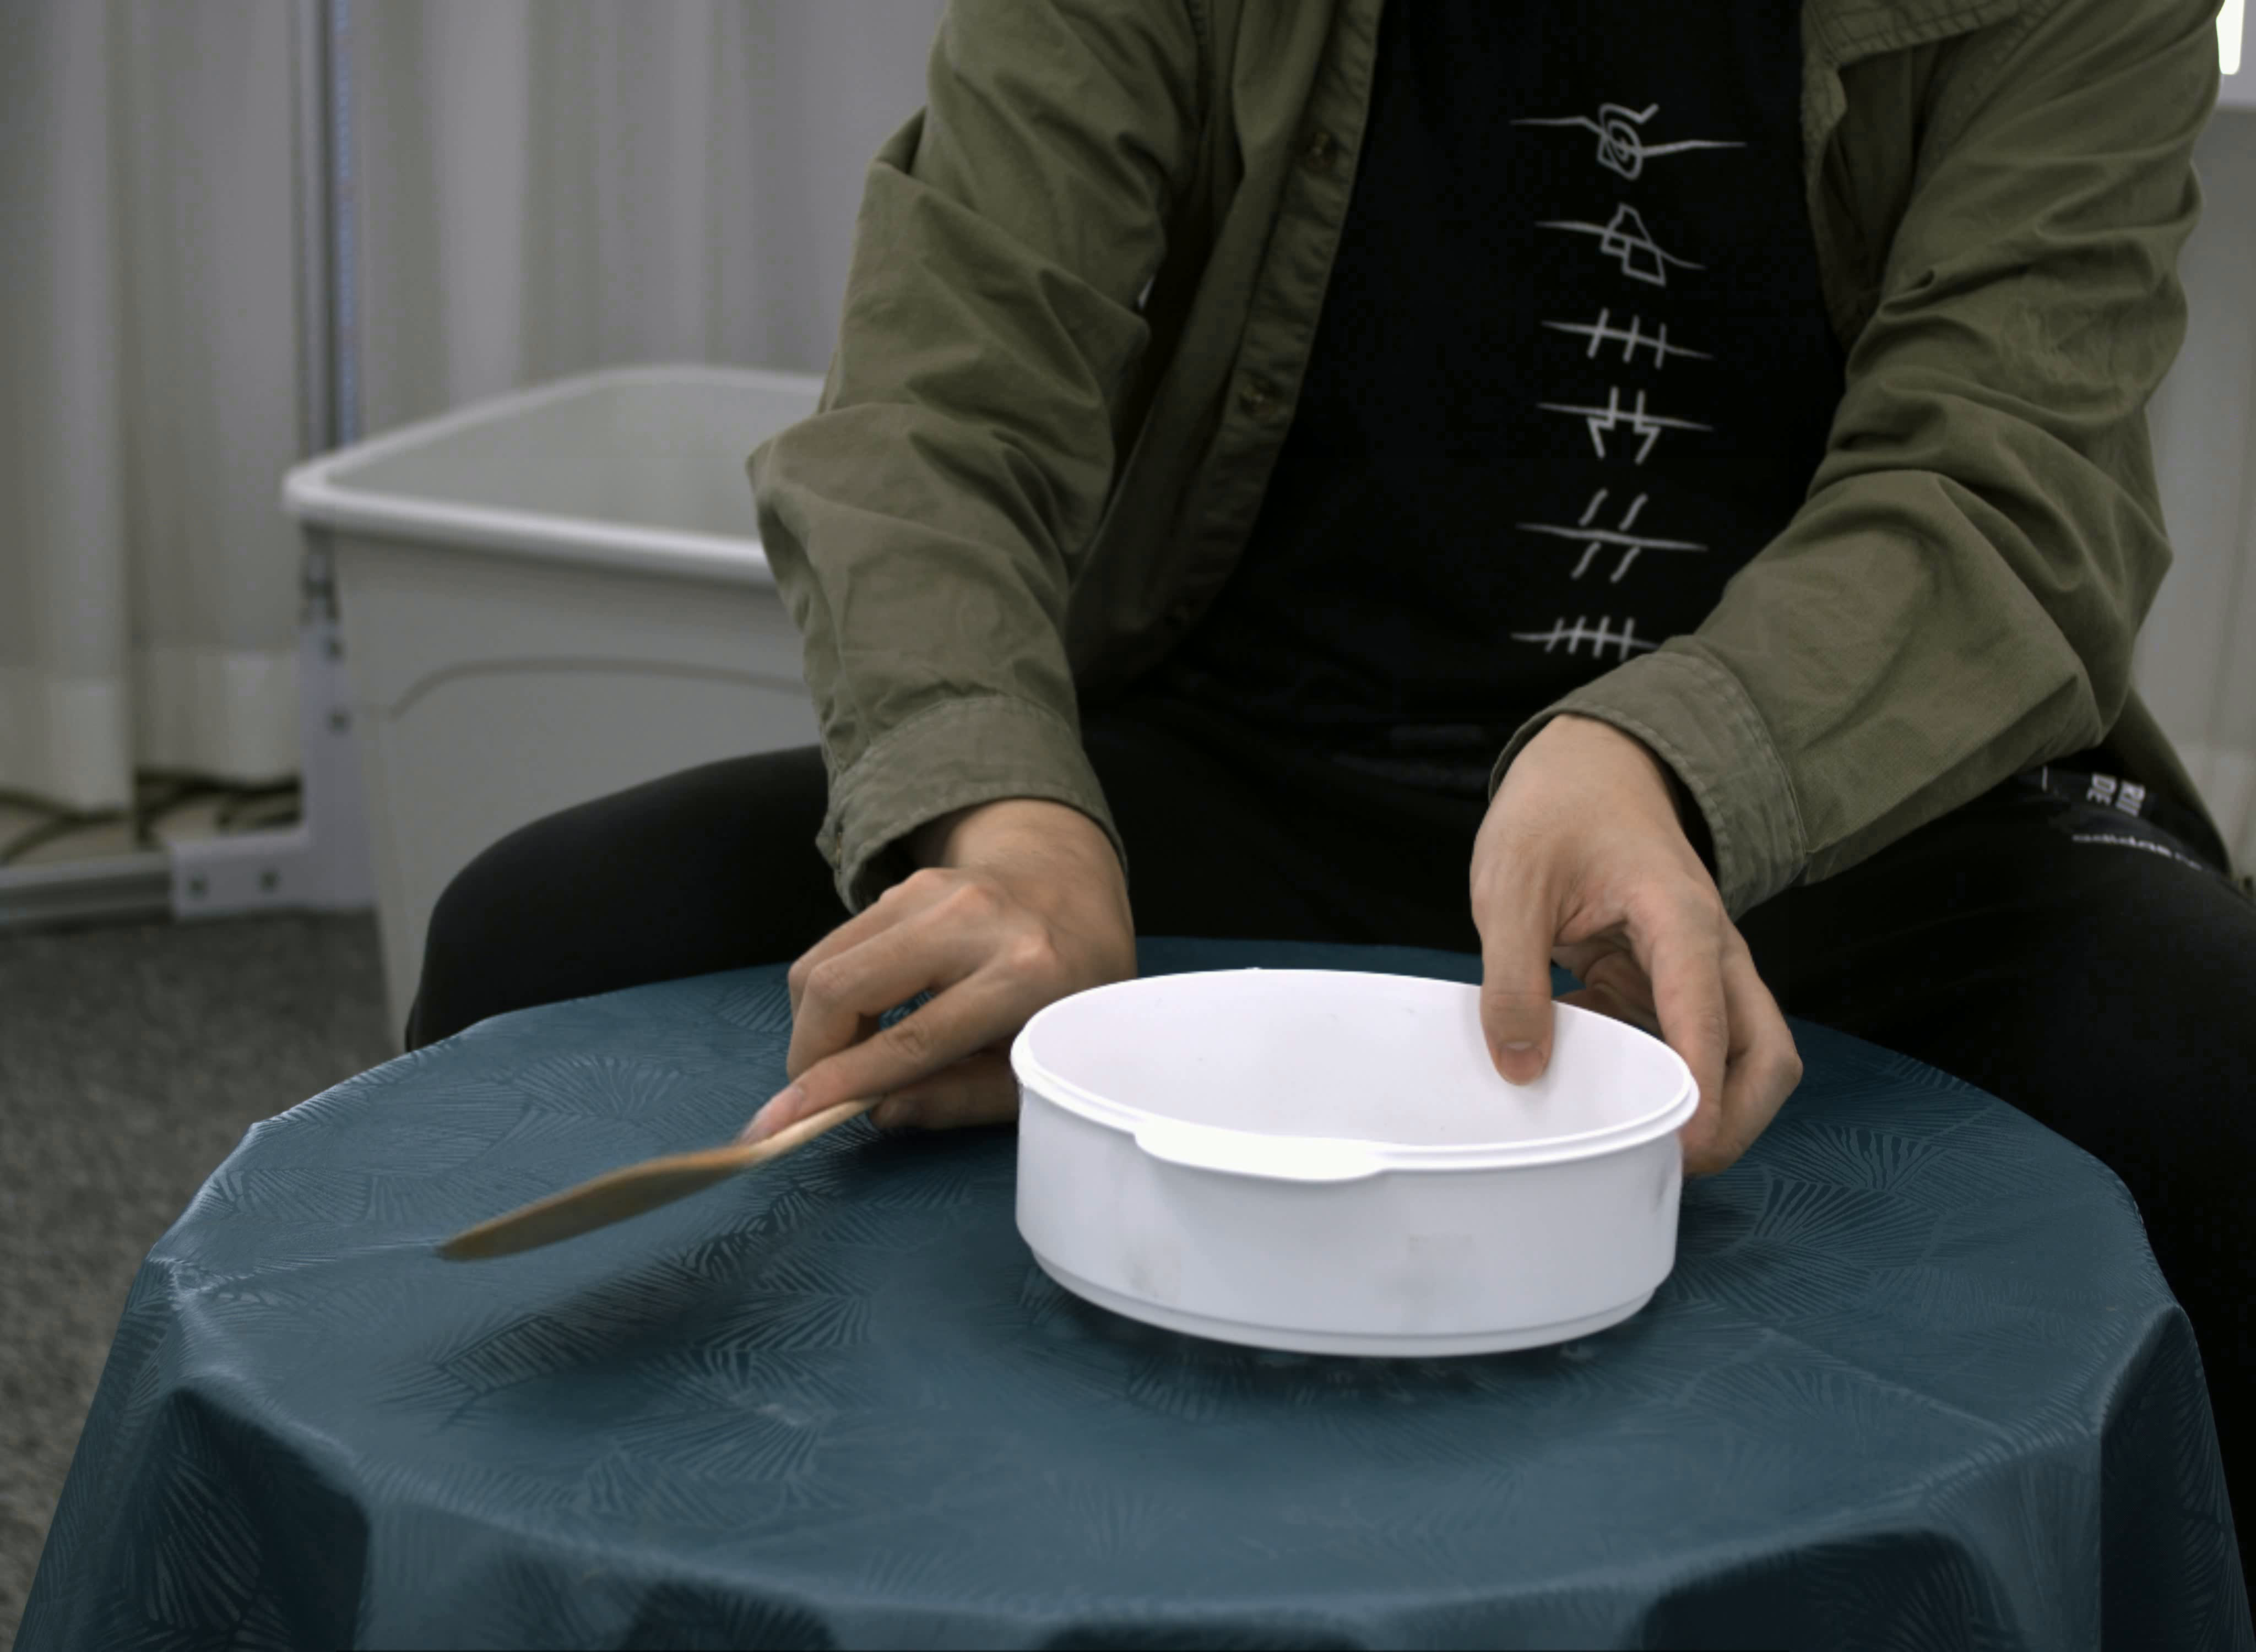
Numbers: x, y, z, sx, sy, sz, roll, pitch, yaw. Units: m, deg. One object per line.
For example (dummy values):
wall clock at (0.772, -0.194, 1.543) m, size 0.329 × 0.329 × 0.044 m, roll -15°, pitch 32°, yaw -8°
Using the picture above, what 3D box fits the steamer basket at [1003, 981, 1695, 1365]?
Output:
steamer basket at (0.062, 0.101, 1.537) m, size 0.200 × 0.070 × 0.231 m, roll 8°, pitch 12°, yaw 17°

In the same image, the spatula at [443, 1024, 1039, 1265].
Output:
spatula at (-0.098, 0.090, 1.604) m, size 0.079 × 0.016 × 0.328 m, roll -22°, pitch 0°, yaw 24°
